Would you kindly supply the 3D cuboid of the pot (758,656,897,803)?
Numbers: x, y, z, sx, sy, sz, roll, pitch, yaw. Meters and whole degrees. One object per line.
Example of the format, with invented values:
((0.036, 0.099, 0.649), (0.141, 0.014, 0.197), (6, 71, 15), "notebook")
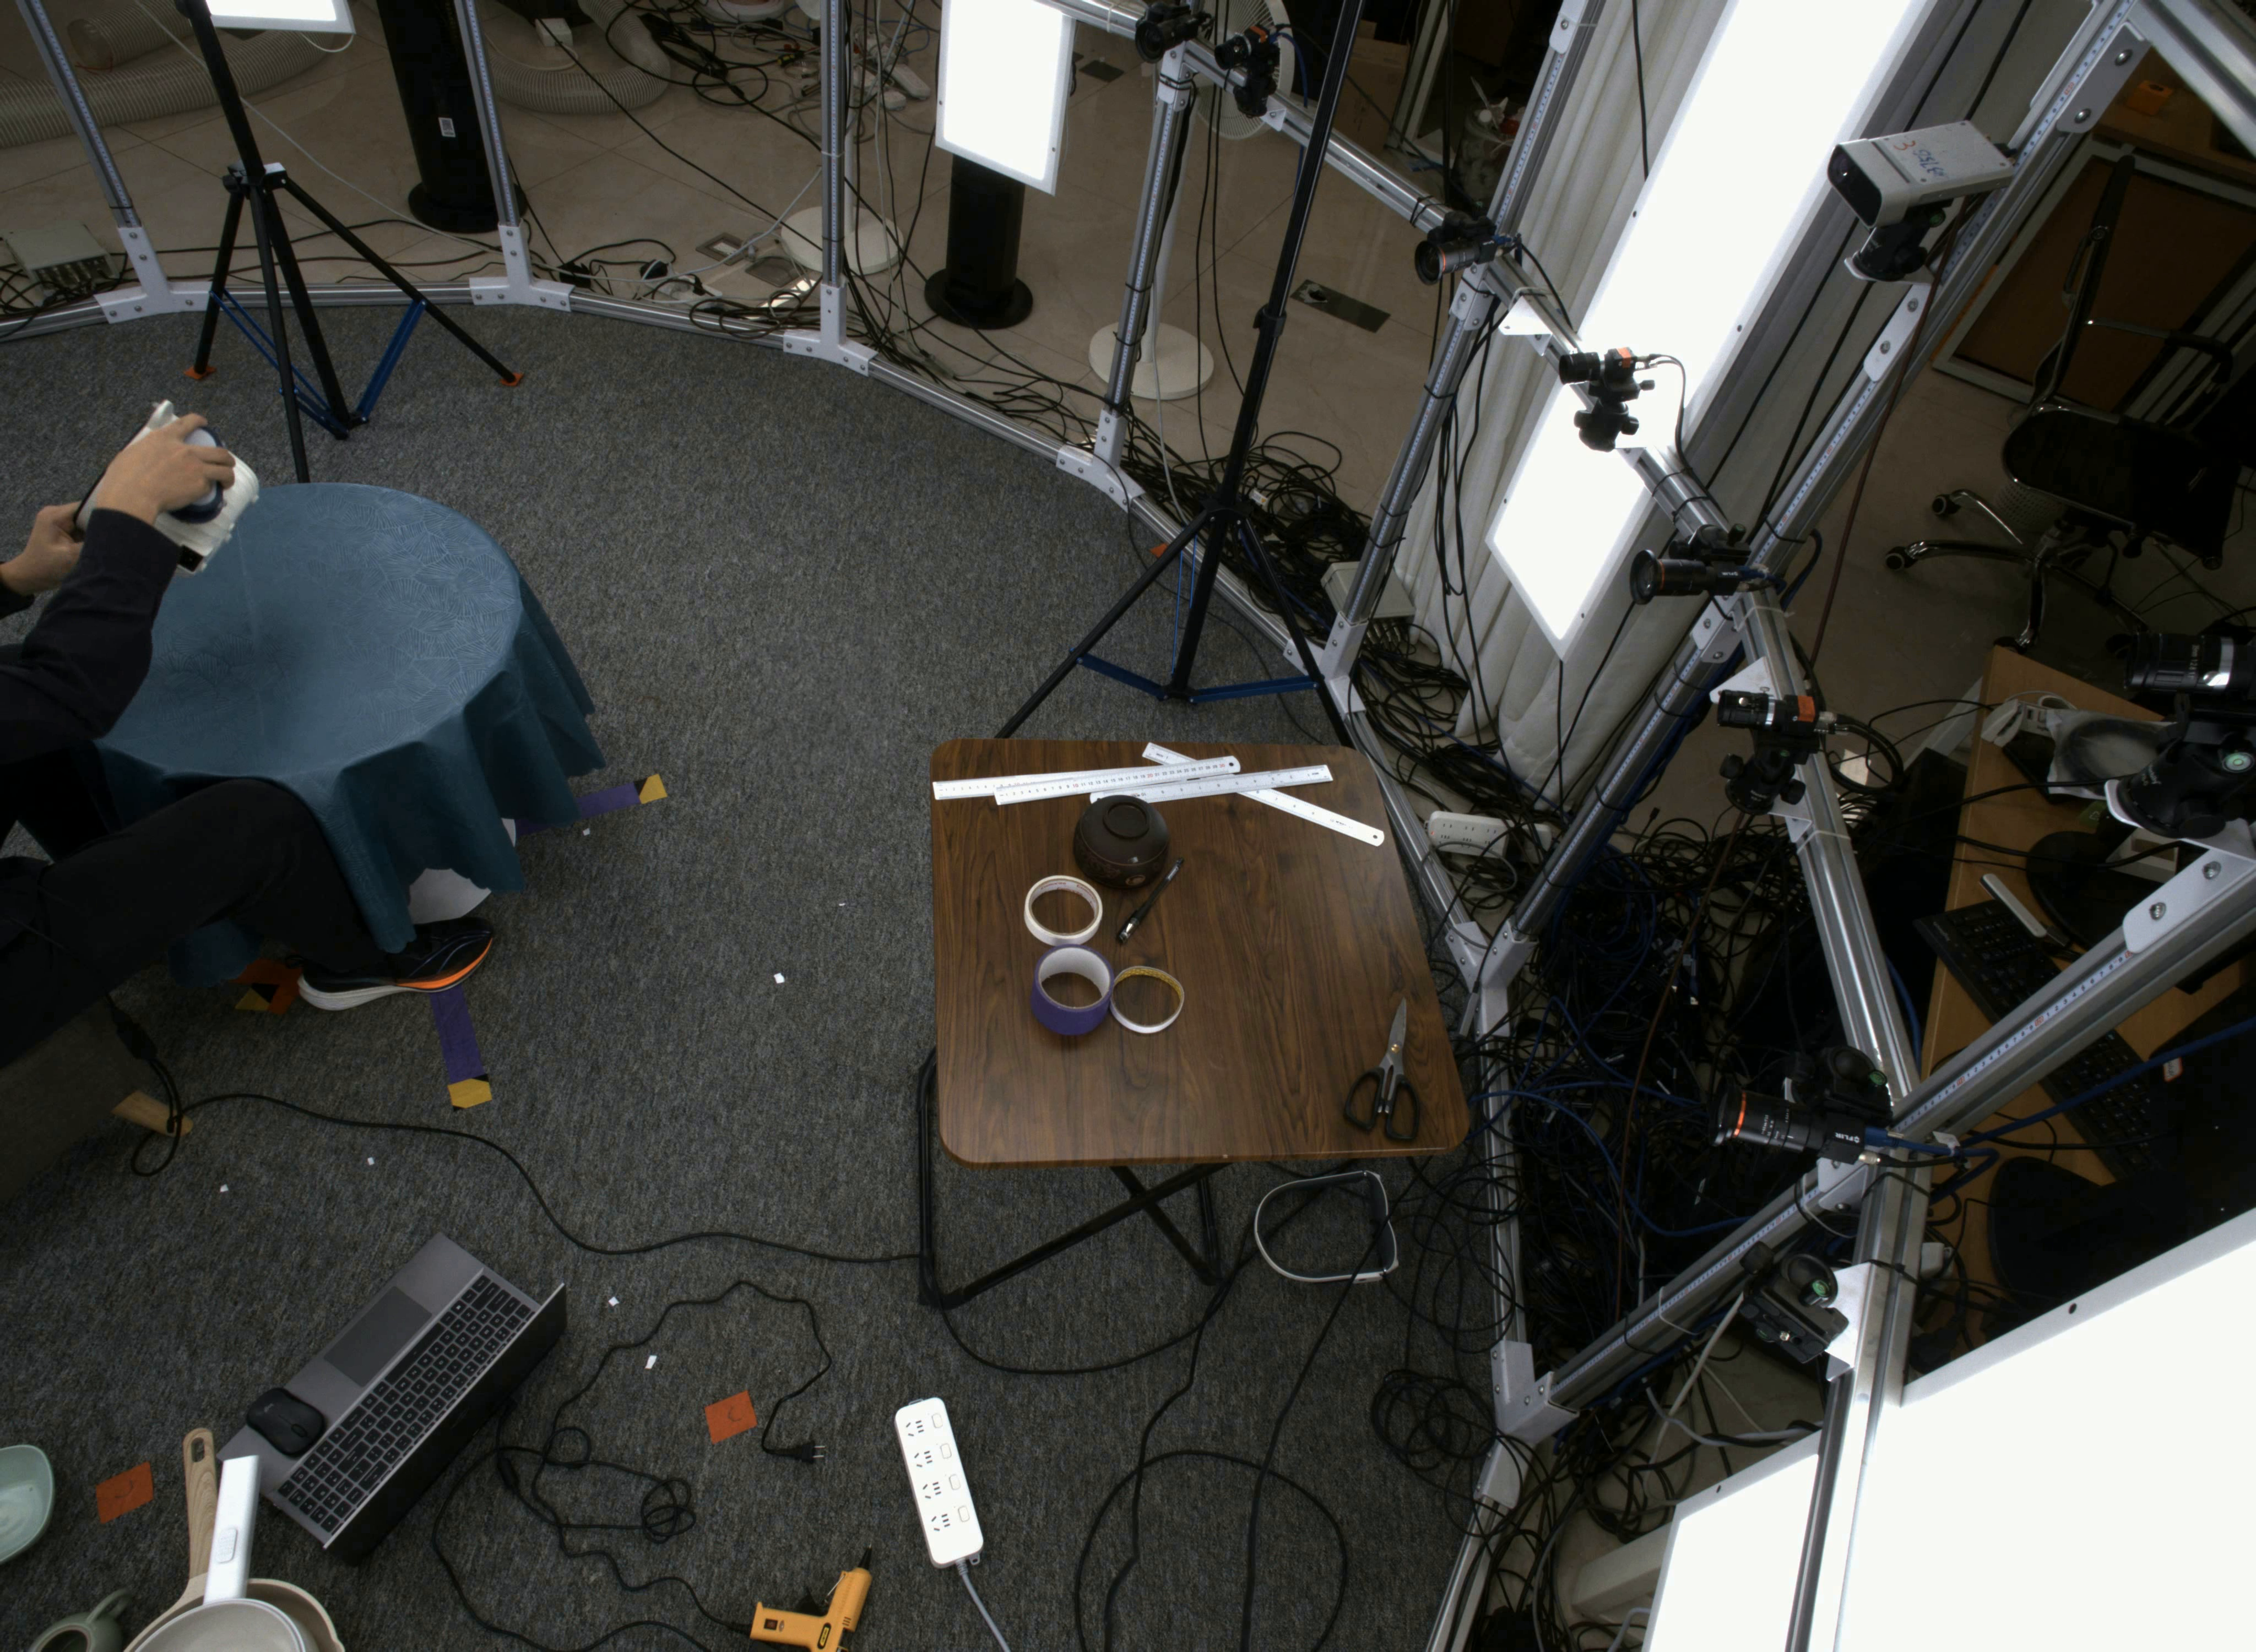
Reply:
((-0.449, -0.130, 1.986), (0.142, 0.239, 0.192), (54, 24, 8), "pot")

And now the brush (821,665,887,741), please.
((-0.397, -0.175, 1.871), (0.069, 0.061, 0.121), (37, 50, -10), "brush")
